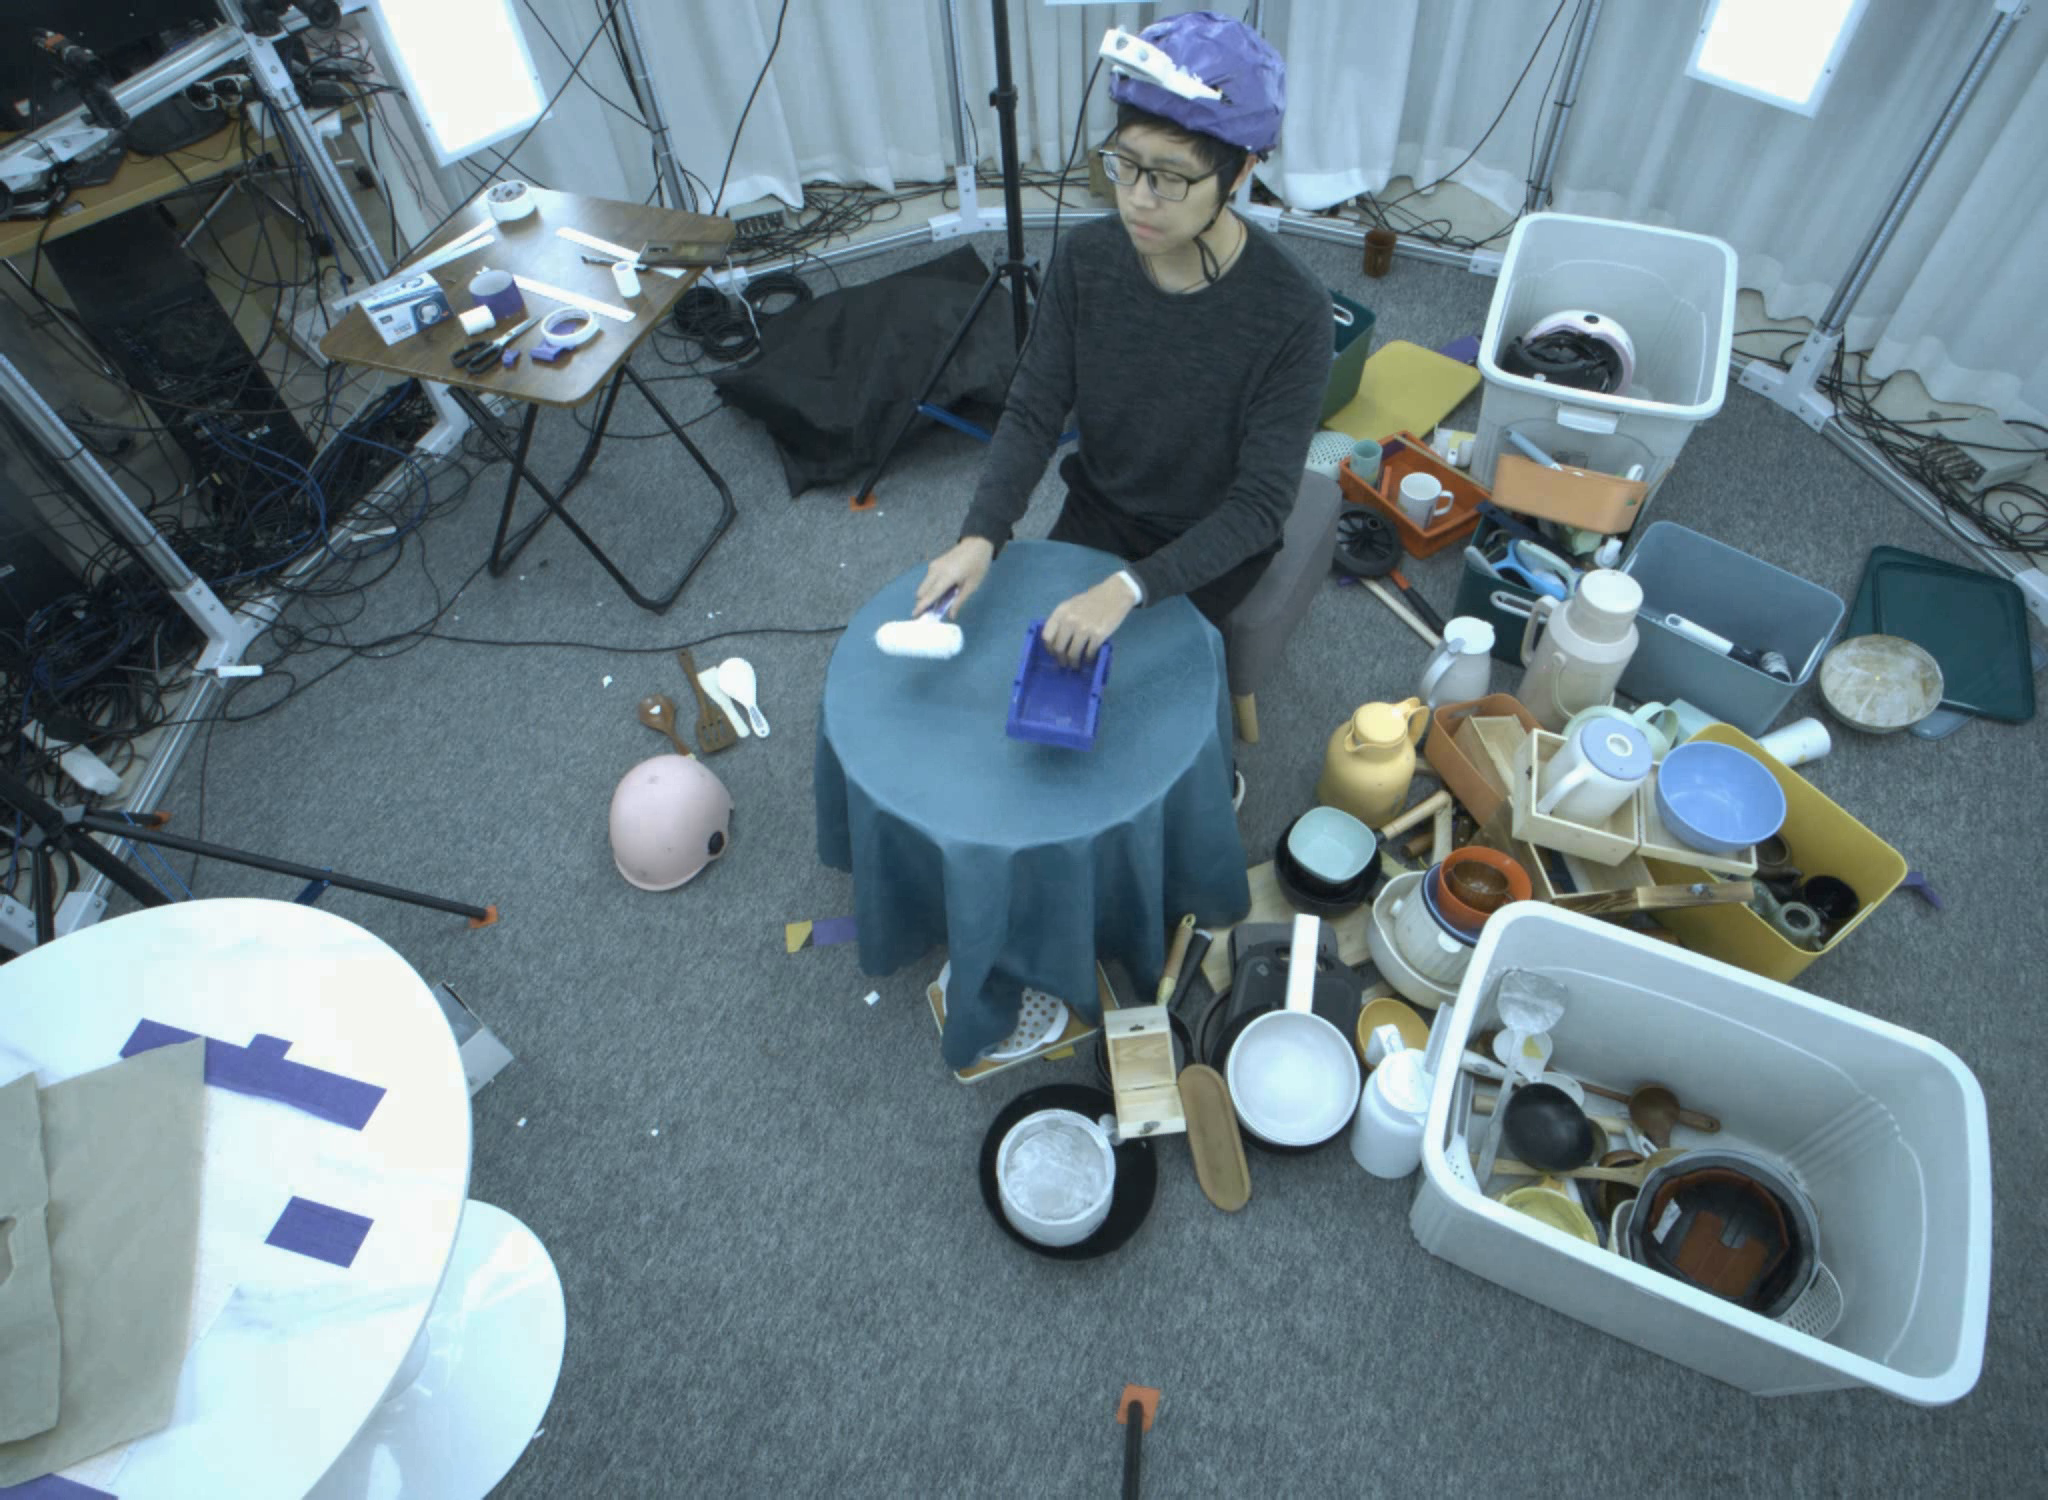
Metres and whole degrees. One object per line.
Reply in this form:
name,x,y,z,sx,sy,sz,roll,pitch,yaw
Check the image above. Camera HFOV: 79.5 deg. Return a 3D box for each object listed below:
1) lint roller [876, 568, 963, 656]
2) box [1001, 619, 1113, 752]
lint roller,-0.134,-0.215,1.816,0.131,0.051,0.180,6,57,23
box,0.049,-0.086,1.729,0.124,0.082,0.178,13,47,4
